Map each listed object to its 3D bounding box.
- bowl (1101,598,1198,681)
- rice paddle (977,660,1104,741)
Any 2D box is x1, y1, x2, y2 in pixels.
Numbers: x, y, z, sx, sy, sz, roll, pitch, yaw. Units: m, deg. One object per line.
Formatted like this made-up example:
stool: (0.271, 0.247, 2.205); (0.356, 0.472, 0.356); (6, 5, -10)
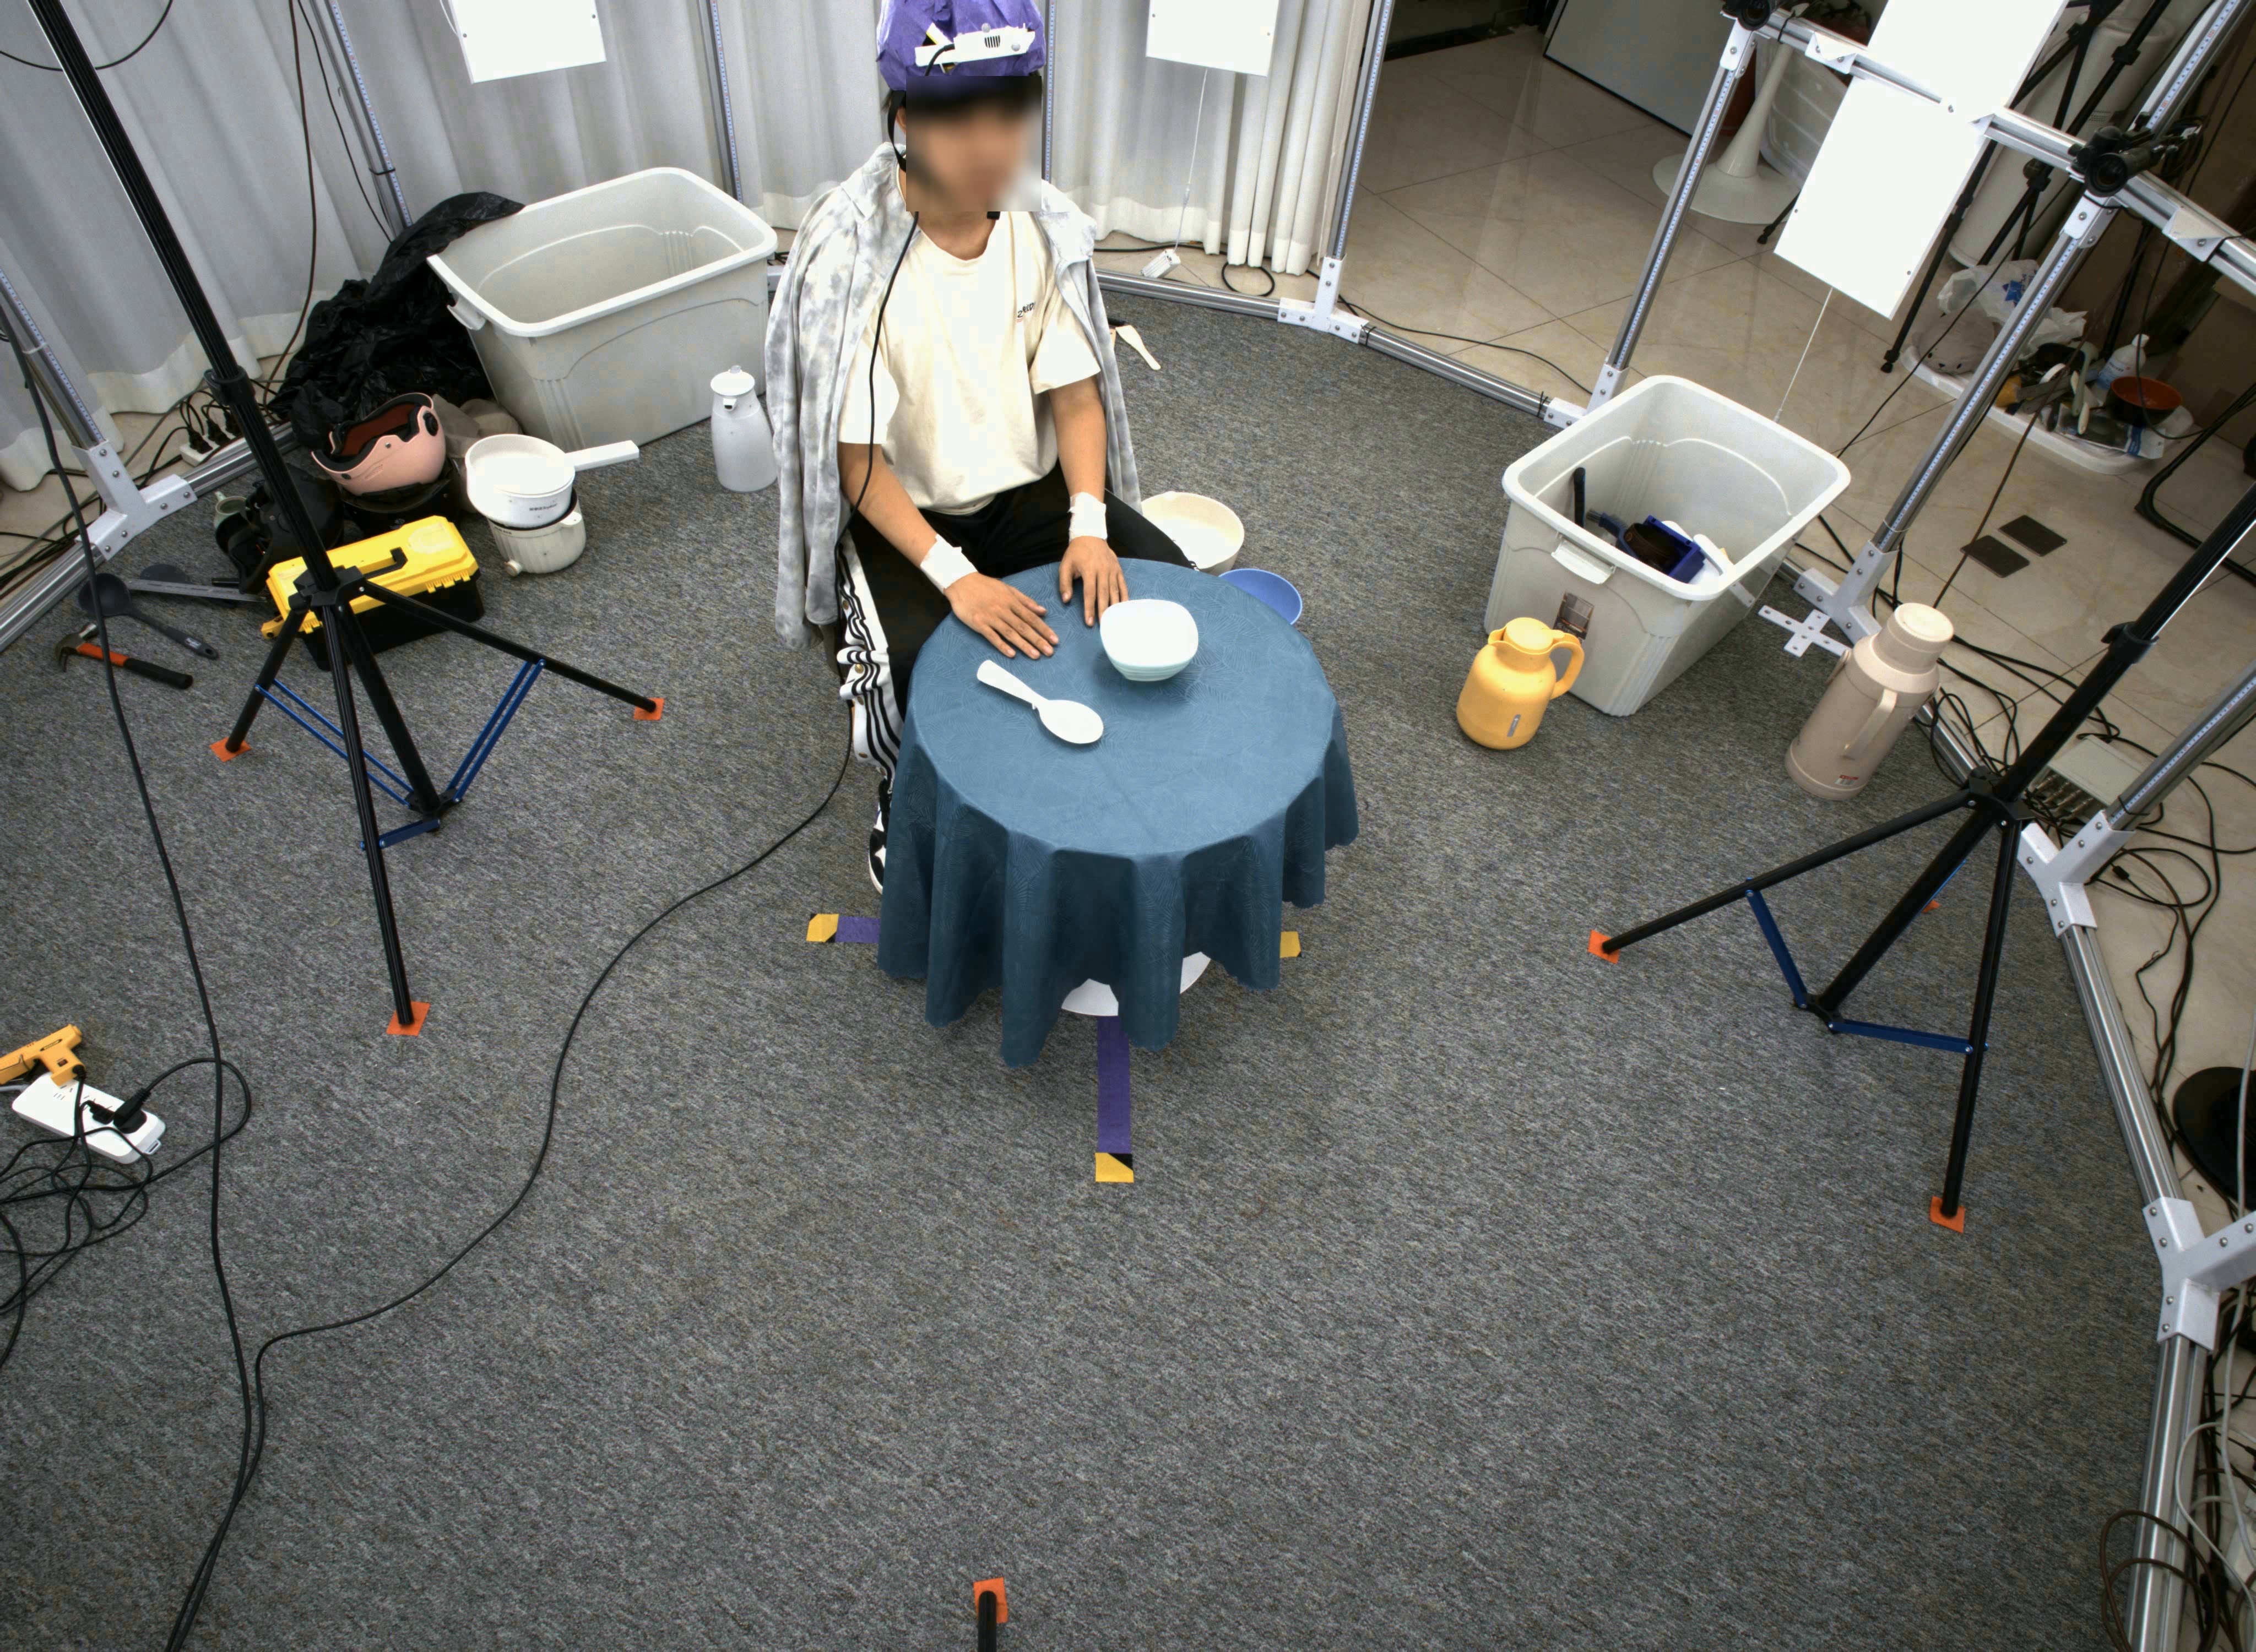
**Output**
bowl: (0.030, -0.260, 1.853); (0.151, 0.057, 0.155); (1, 51, -2)
rice paddle: (-0.121, -0.175, 1.784); (0.207, 0.029, 0.069); (31, 55, 21)
